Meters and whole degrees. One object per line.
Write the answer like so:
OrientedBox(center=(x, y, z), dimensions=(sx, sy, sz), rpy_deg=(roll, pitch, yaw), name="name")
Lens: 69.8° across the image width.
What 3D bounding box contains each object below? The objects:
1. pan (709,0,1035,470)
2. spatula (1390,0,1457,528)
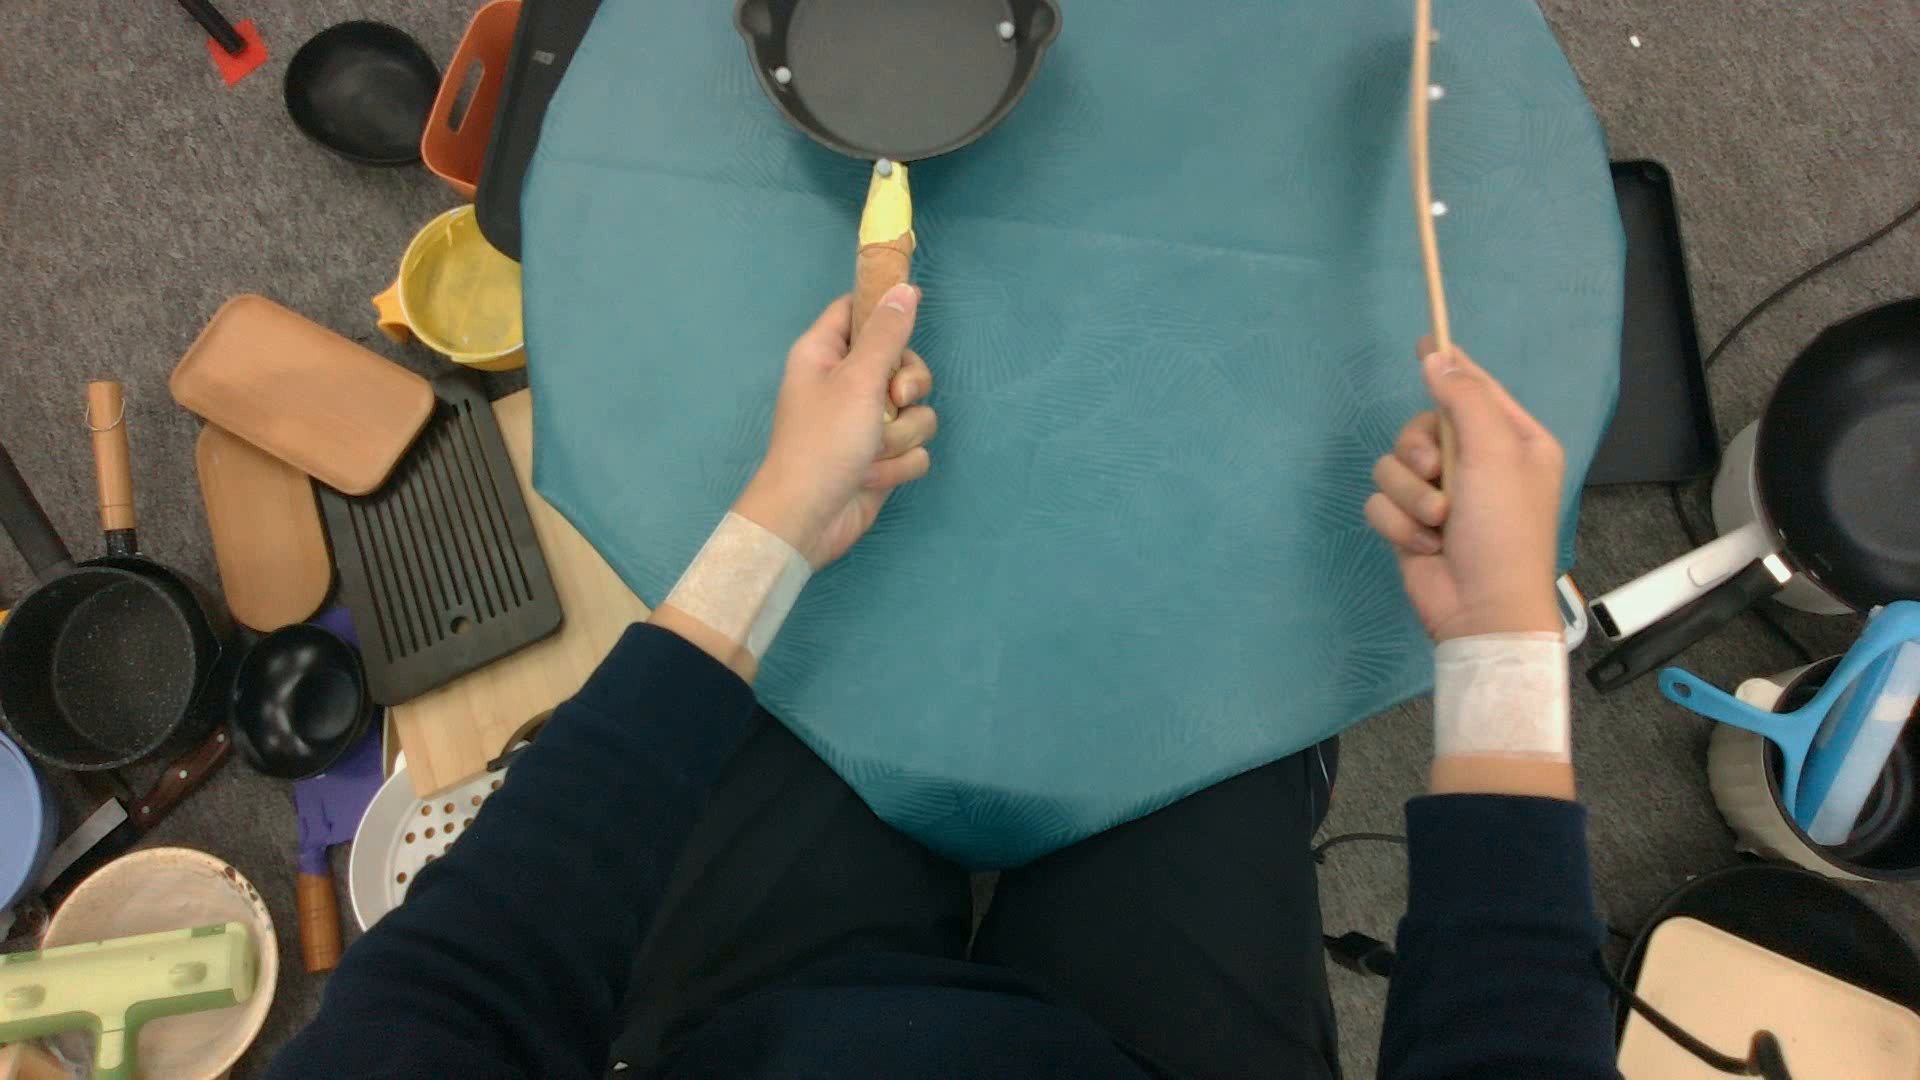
OrientedBox(center=(-0.050, -0.191, 0.701), dimensions=(0.169, 0.049, 0.325), rpy_deg=(3, 79, 2), name="pan")
OrientedBox(center=(0.232, -0.161, 0.684), dimensions=(0.016, 0.080, 0.328), rpy_deg=(0, 69, 7), name="spatula")
